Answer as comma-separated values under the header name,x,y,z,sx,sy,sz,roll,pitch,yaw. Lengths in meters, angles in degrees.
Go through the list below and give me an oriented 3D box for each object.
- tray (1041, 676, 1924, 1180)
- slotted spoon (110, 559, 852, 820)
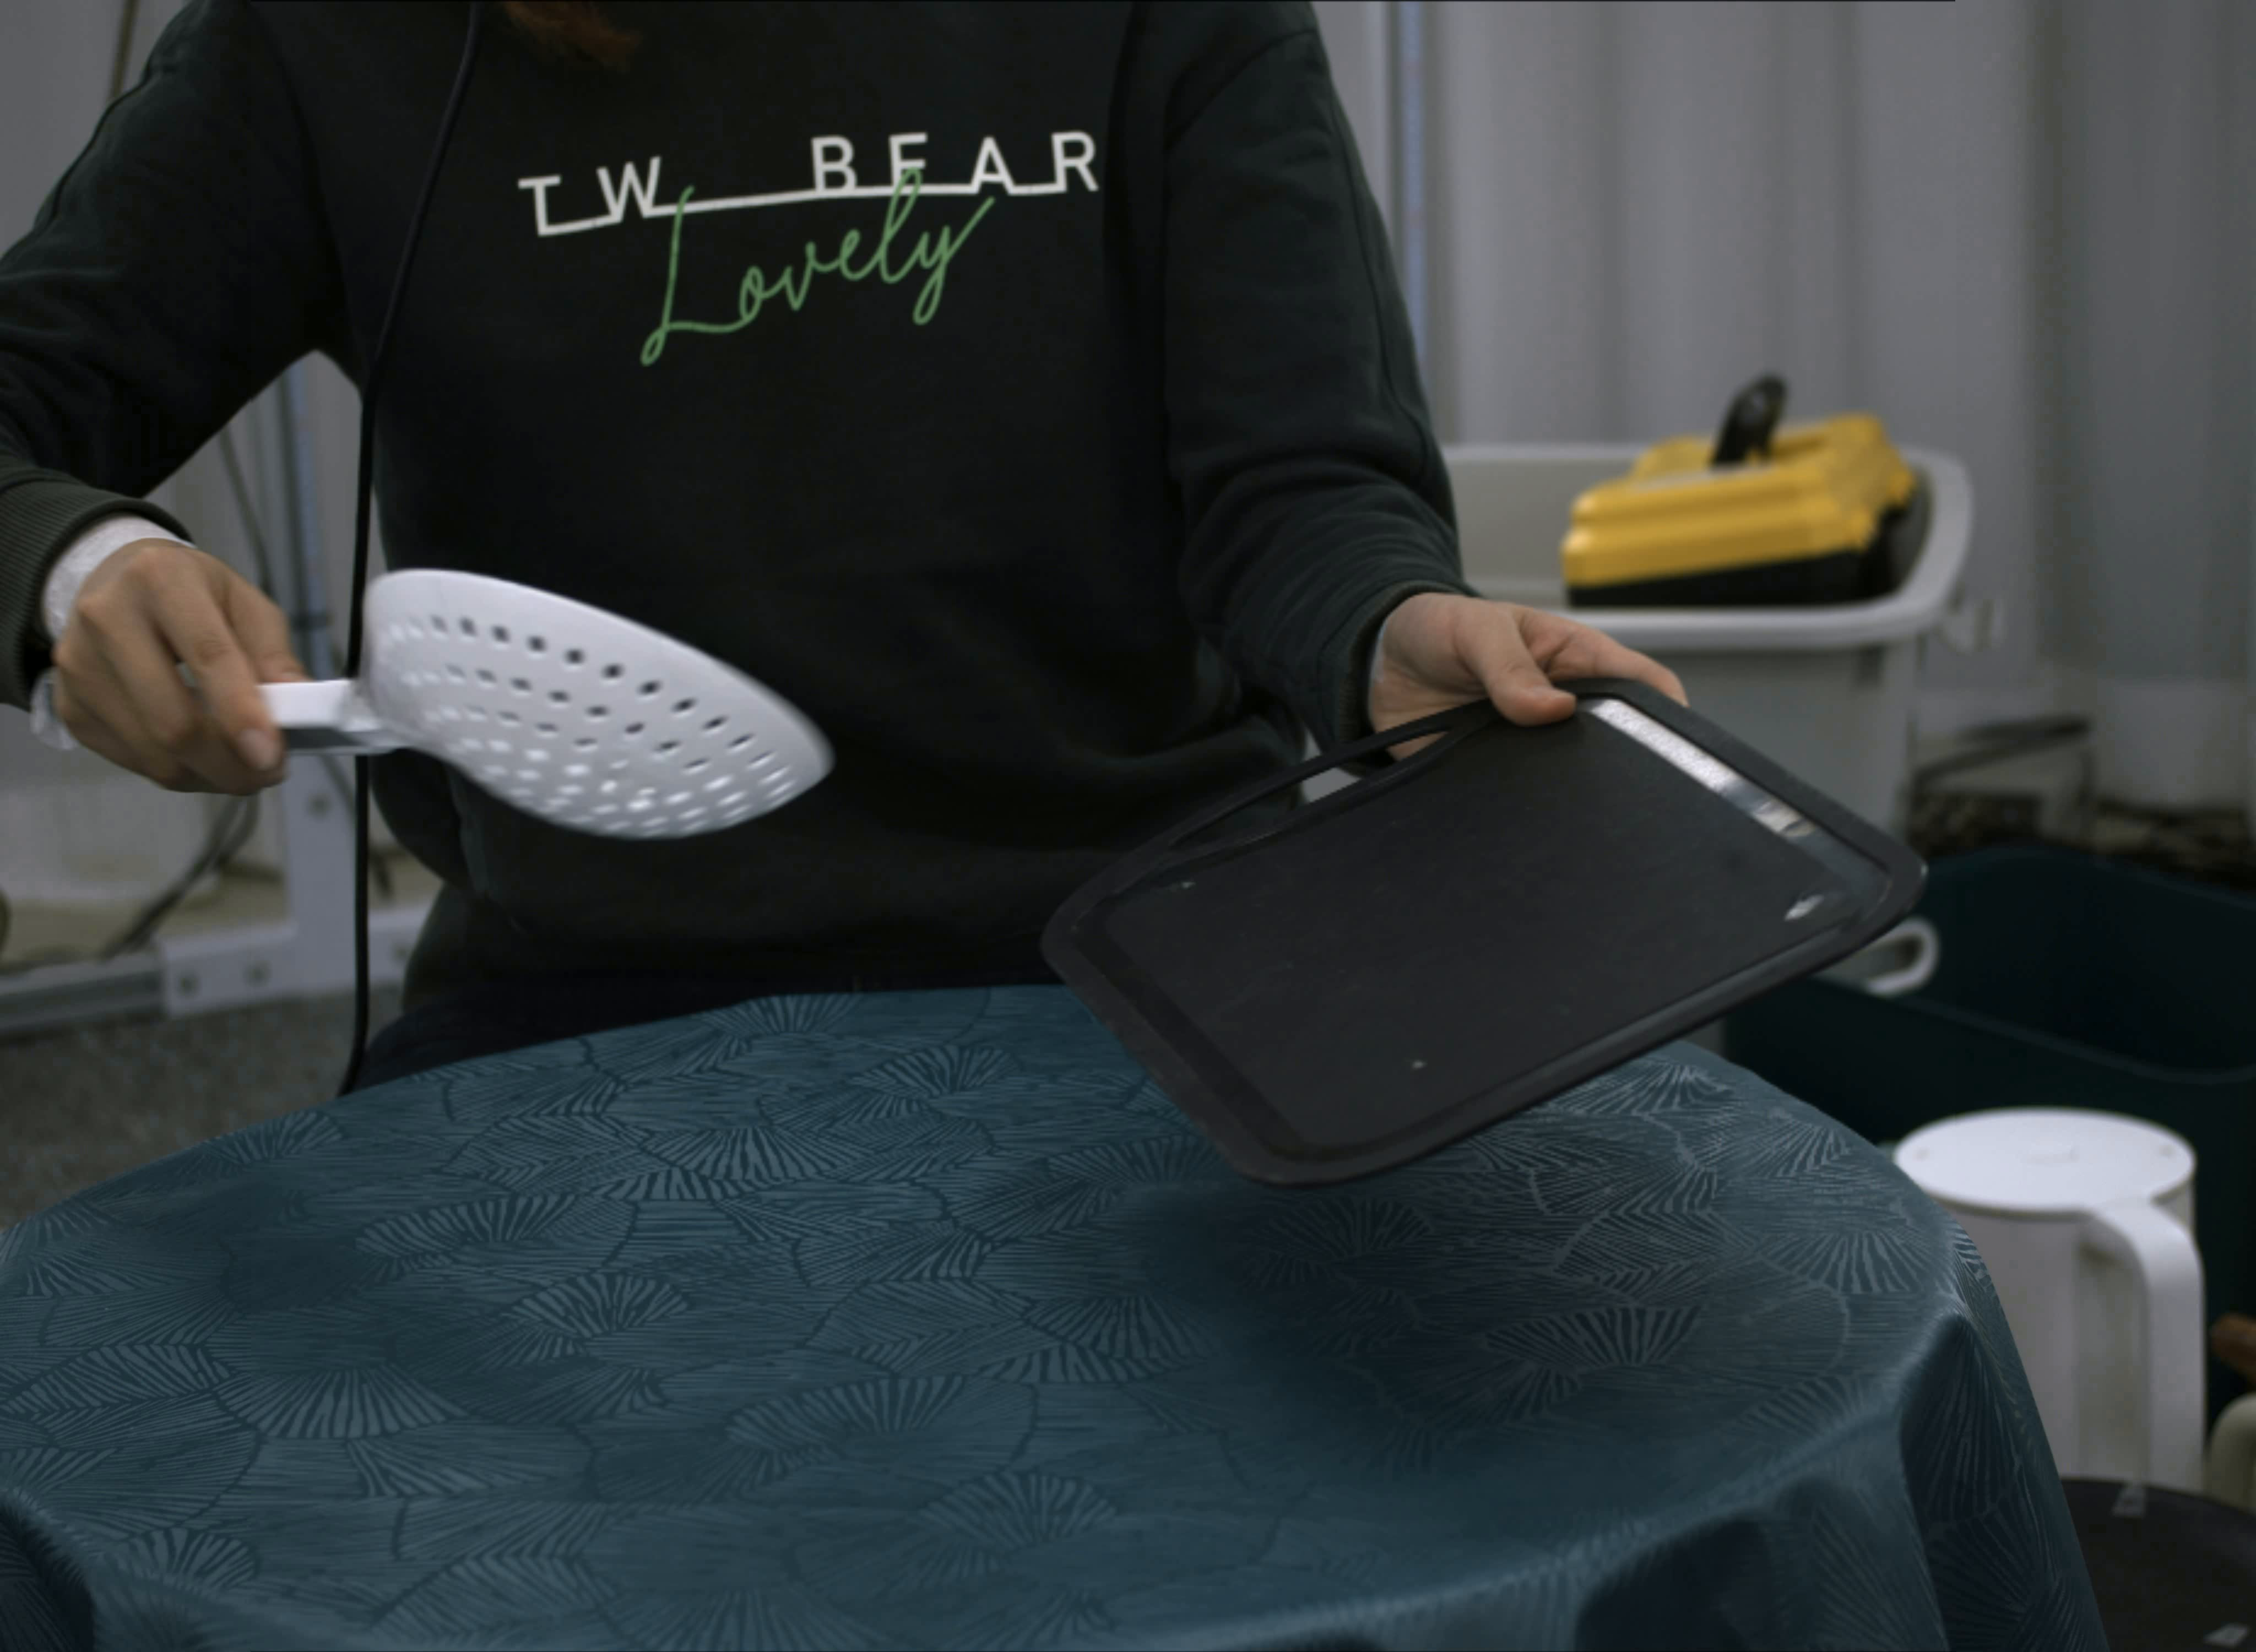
name,x,y,z,sx,sy,sz,roll,pitch,yaw
tray,0.092,0.022,1.608,0.211,0.010,0.328,-24,19,-8
slotted spoon,-0.210,-0.036,1.612,0.134,0.046,0.351,29,-13,-33
